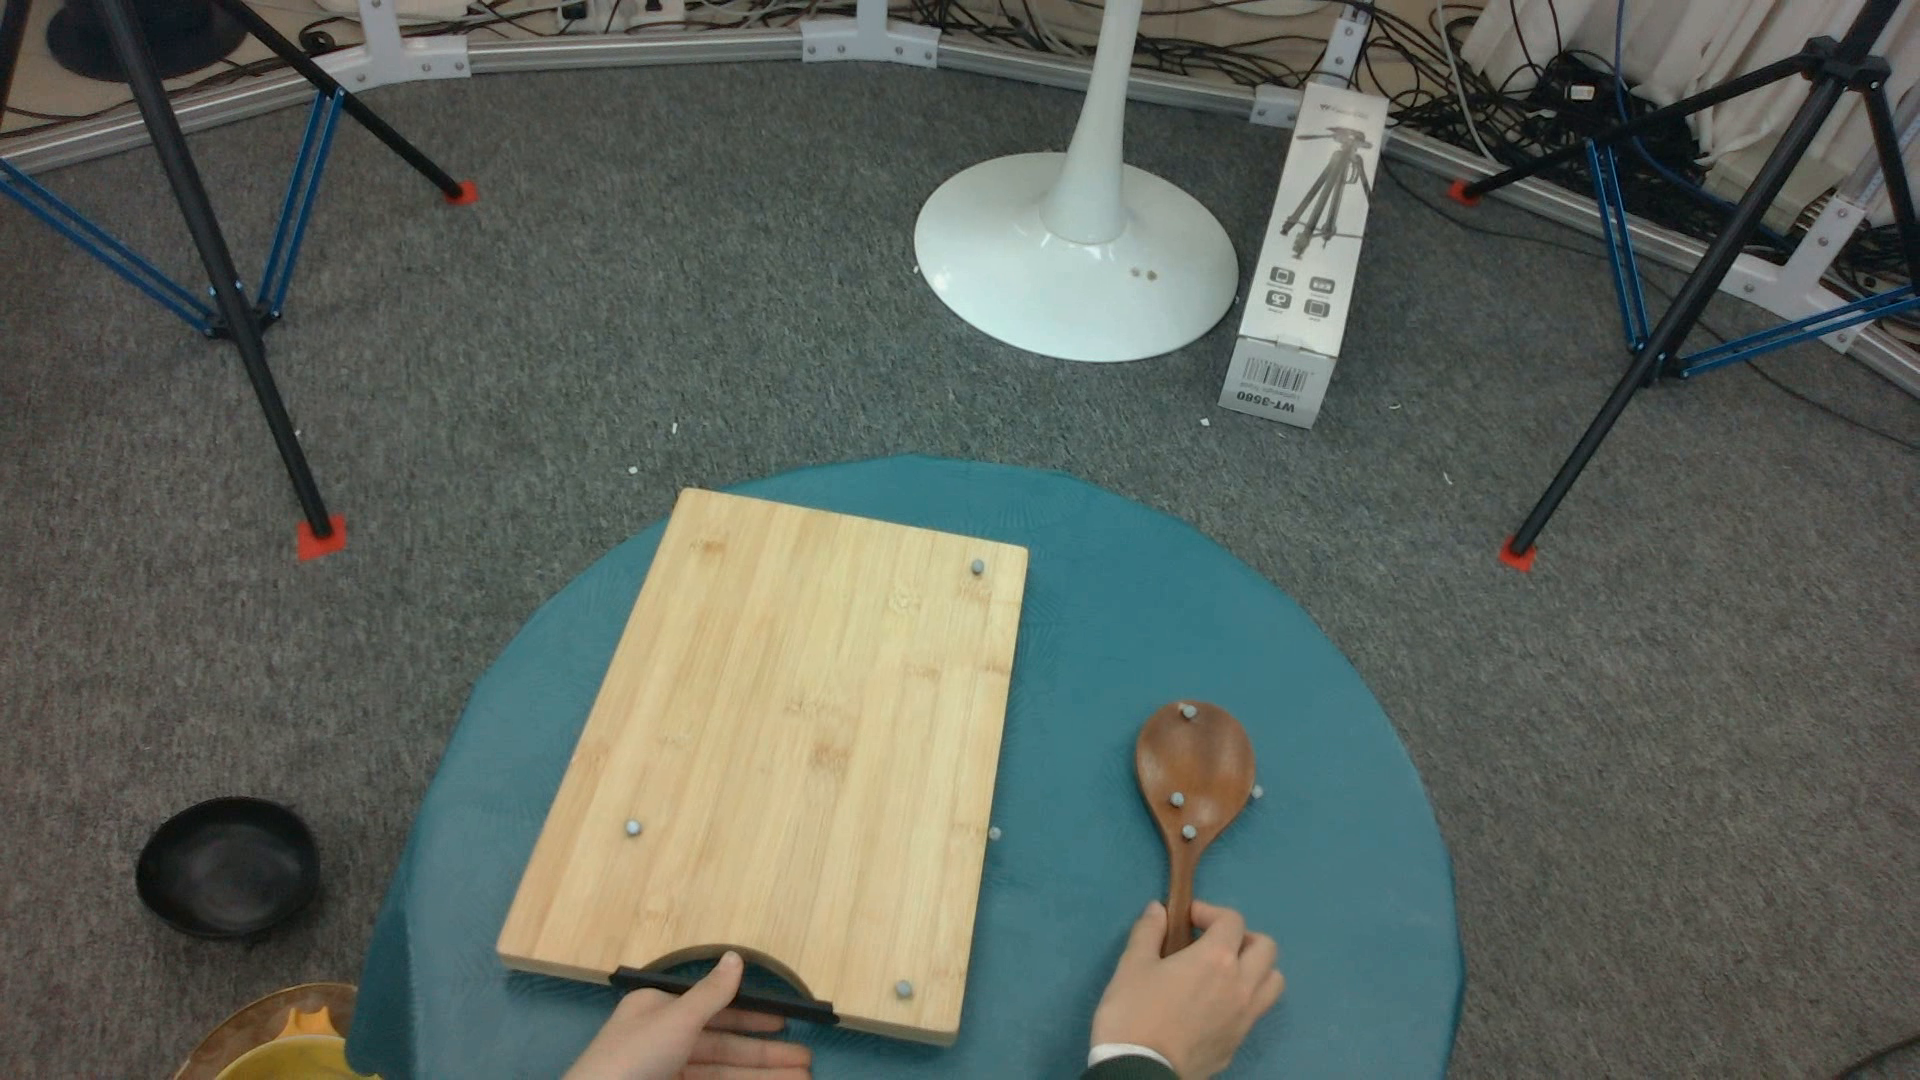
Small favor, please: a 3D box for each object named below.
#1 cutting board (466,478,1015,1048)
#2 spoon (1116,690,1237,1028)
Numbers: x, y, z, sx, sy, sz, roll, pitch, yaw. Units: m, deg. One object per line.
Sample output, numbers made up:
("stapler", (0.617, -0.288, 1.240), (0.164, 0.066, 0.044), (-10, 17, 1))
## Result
("cutting board", (-0.107, 0.110, 0.816), (0.251, 0.023, 0.350), (9, 47, 0))
("spoon", (0.120, 0.178, 0.800), (0.075, 0.017, 0.217), (14, 49, 1))
